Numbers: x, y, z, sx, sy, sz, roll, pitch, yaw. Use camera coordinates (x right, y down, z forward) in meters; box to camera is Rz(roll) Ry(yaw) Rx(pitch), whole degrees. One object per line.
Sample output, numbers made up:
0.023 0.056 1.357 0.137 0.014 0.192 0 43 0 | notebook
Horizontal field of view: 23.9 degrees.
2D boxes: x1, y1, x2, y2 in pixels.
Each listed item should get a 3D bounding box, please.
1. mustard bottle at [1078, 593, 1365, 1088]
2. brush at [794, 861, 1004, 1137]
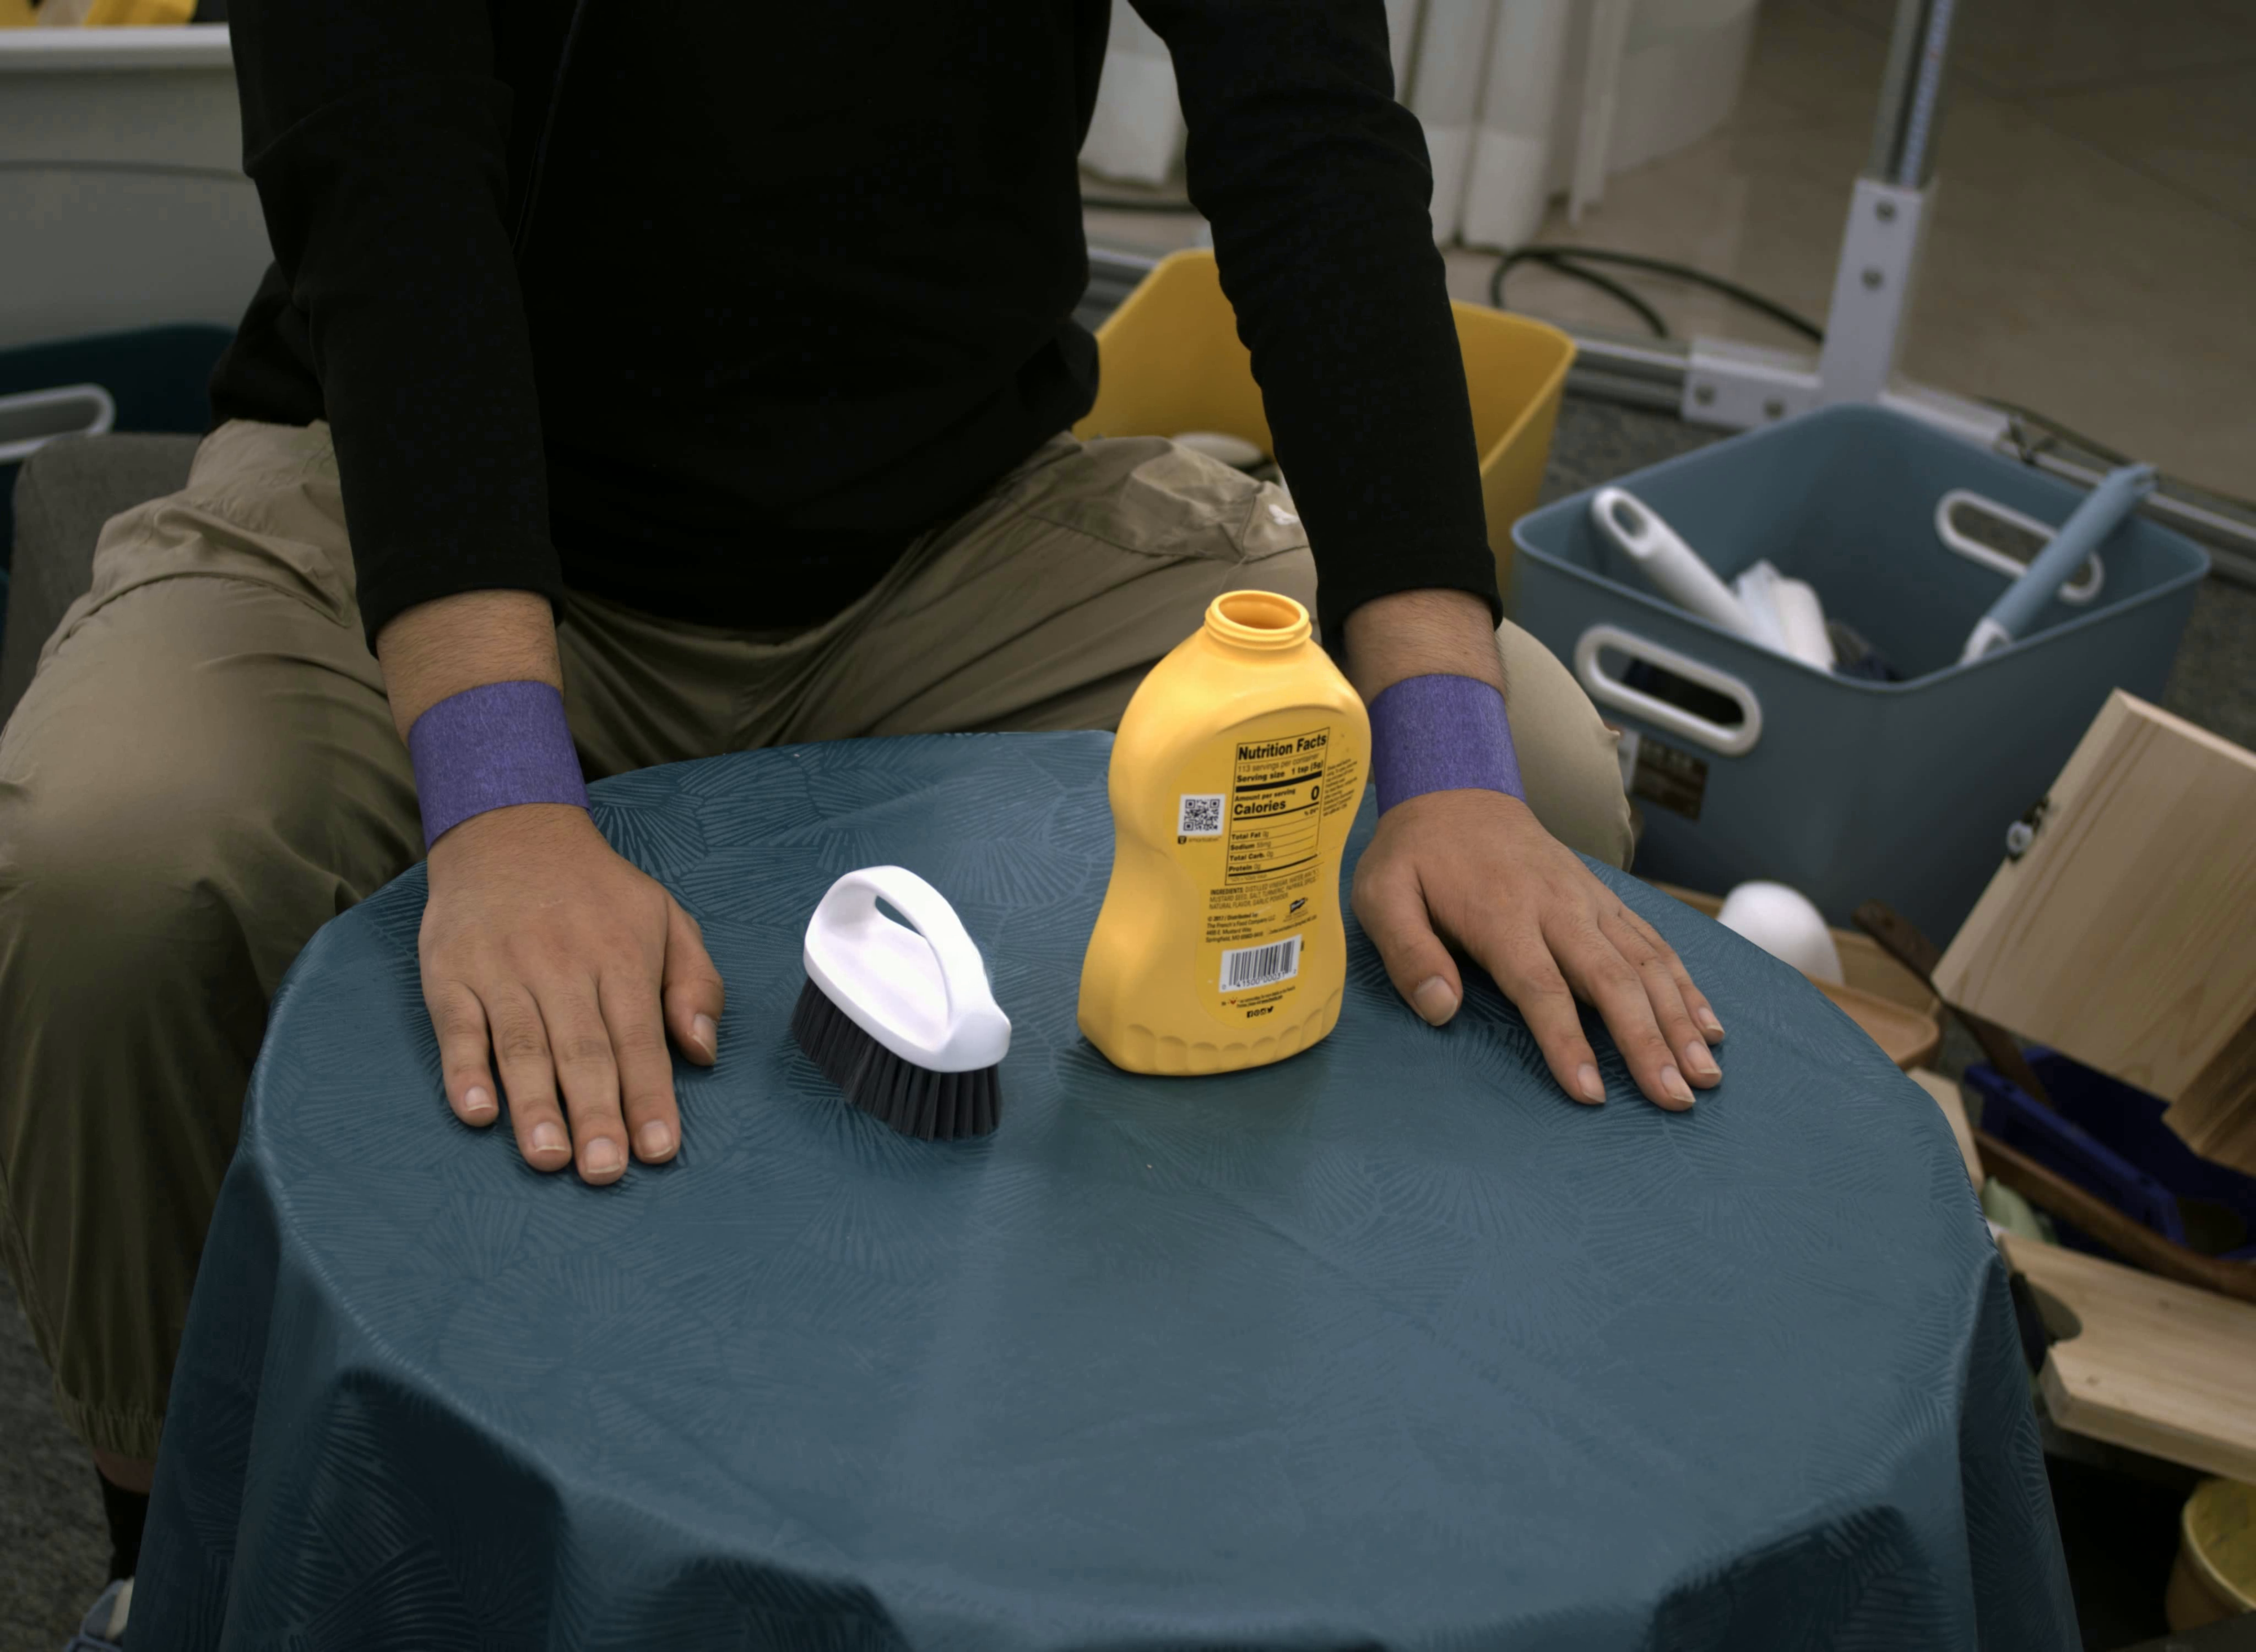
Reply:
0.034 0.004 1.860 0.097 0.171 0.060 -12 28 -31 | mustard bottle
-0.078 0.053 1.840 0.050 0.072 0.100 -9 32 -30 | brush
